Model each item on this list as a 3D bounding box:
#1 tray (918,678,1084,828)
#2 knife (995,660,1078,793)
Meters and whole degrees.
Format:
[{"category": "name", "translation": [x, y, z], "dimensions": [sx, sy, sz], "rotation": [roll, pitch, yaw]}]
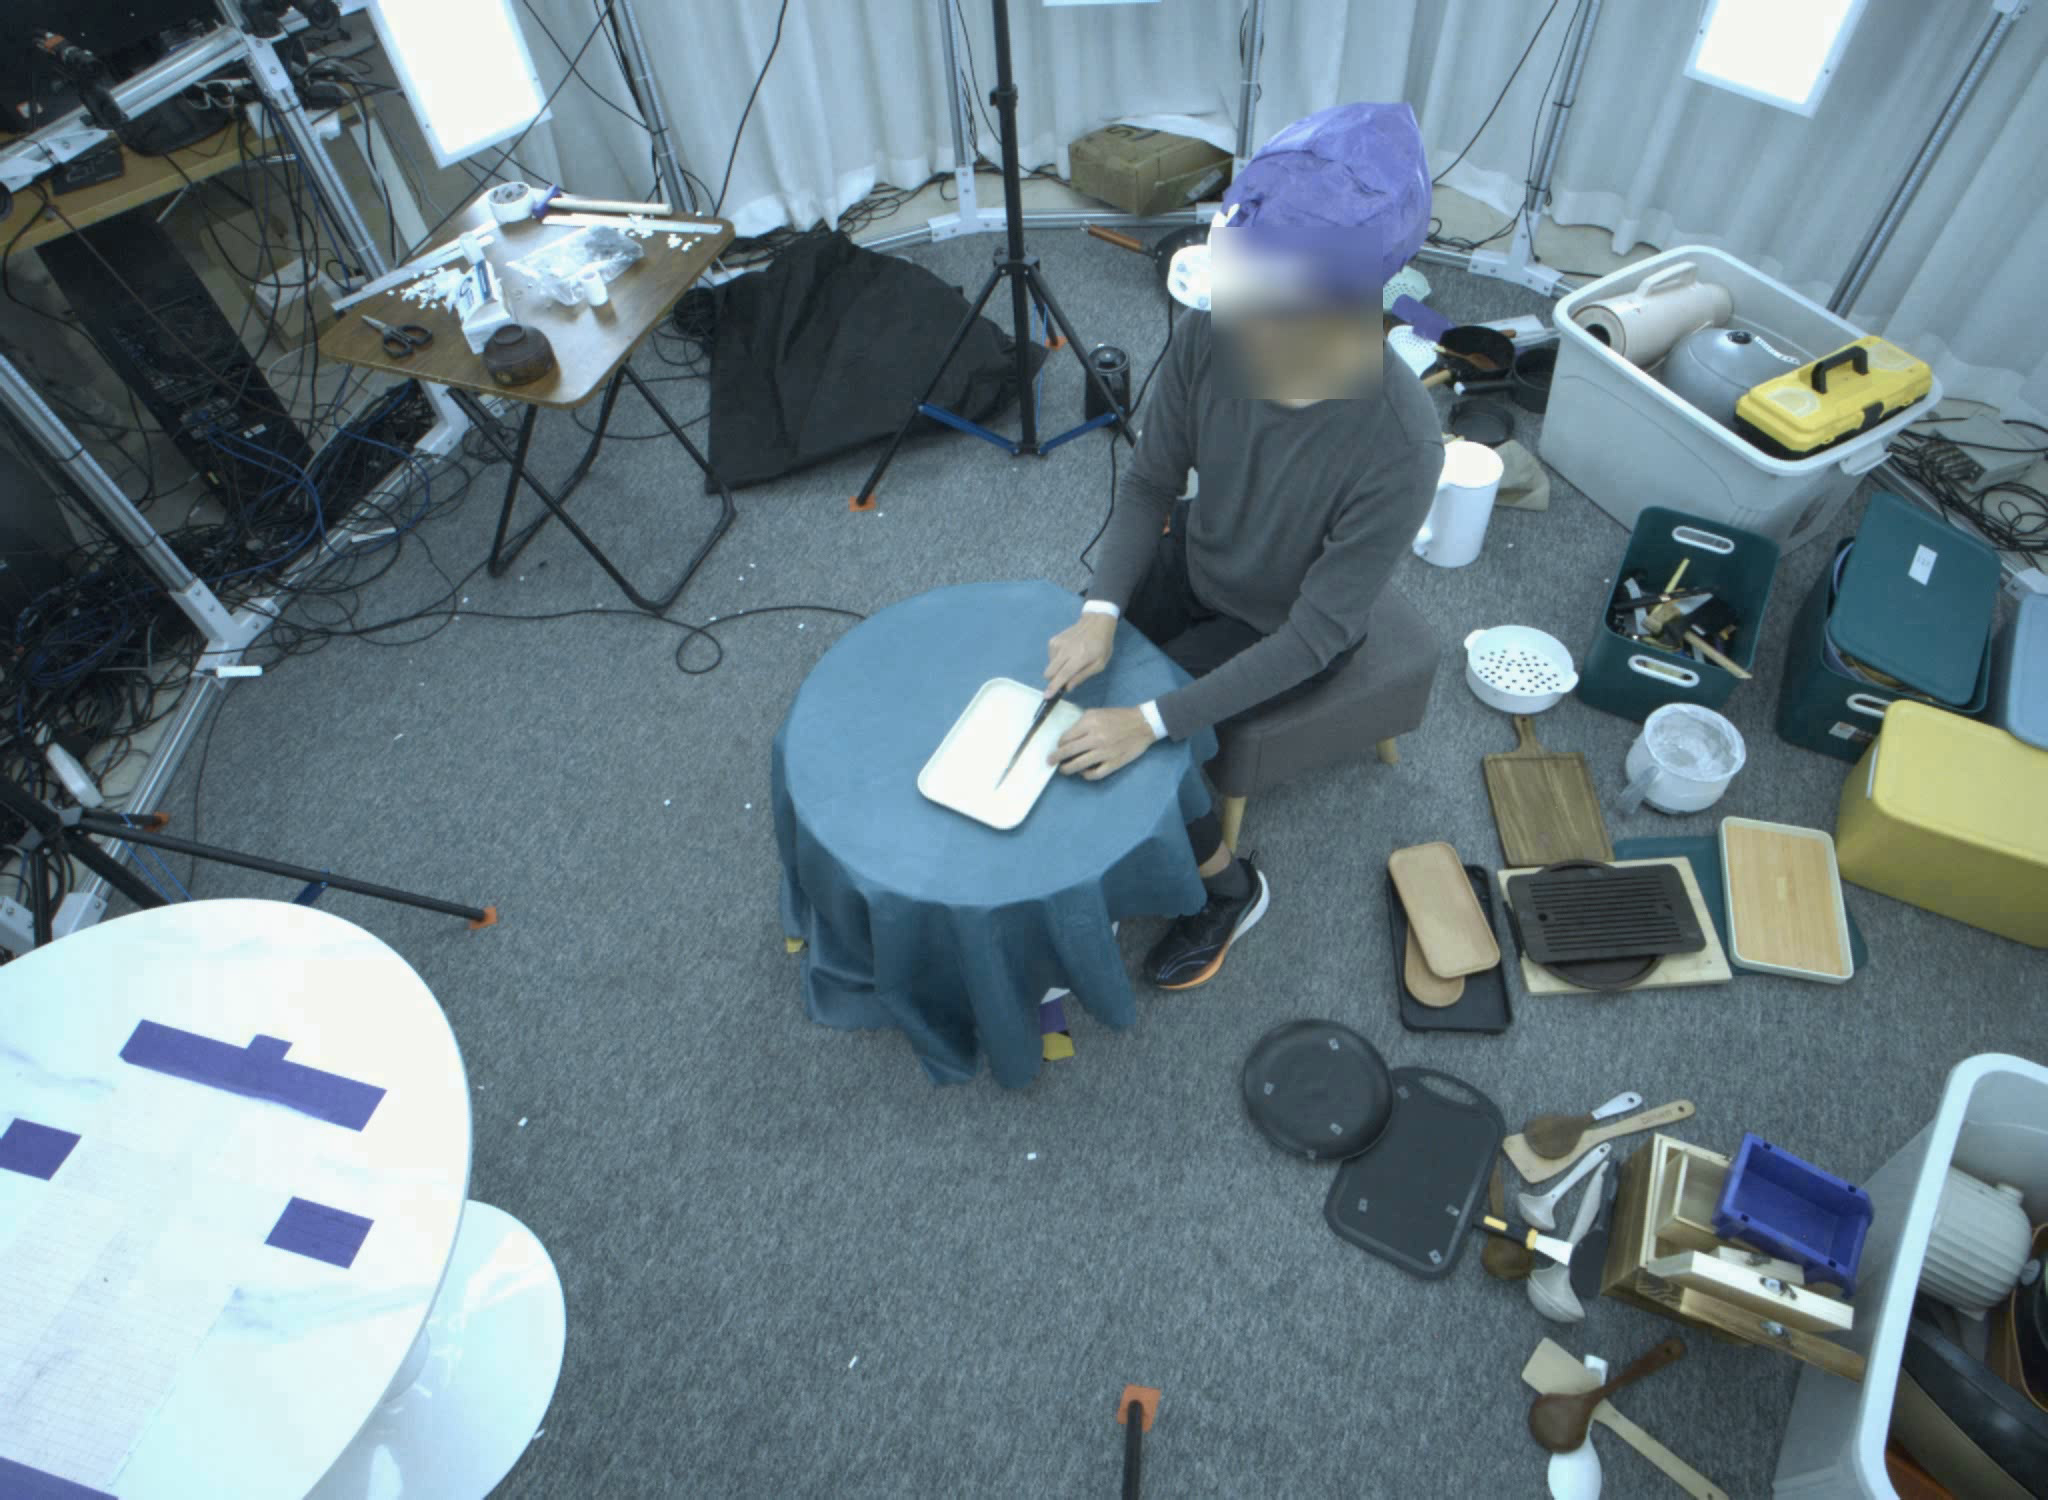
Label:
[{"category": "tray", "translation": [-0.031, 0.002, 1.783], "dimensions": [0.169, 0.017, 0.240], "rotation": [23, 58, 18]}, {"category": "knife", "translation": [0.016, -0.037, 1.754], "dimensions": [0.016, 0.025, 0.238], "rotation": [20, 66, 25]}]
